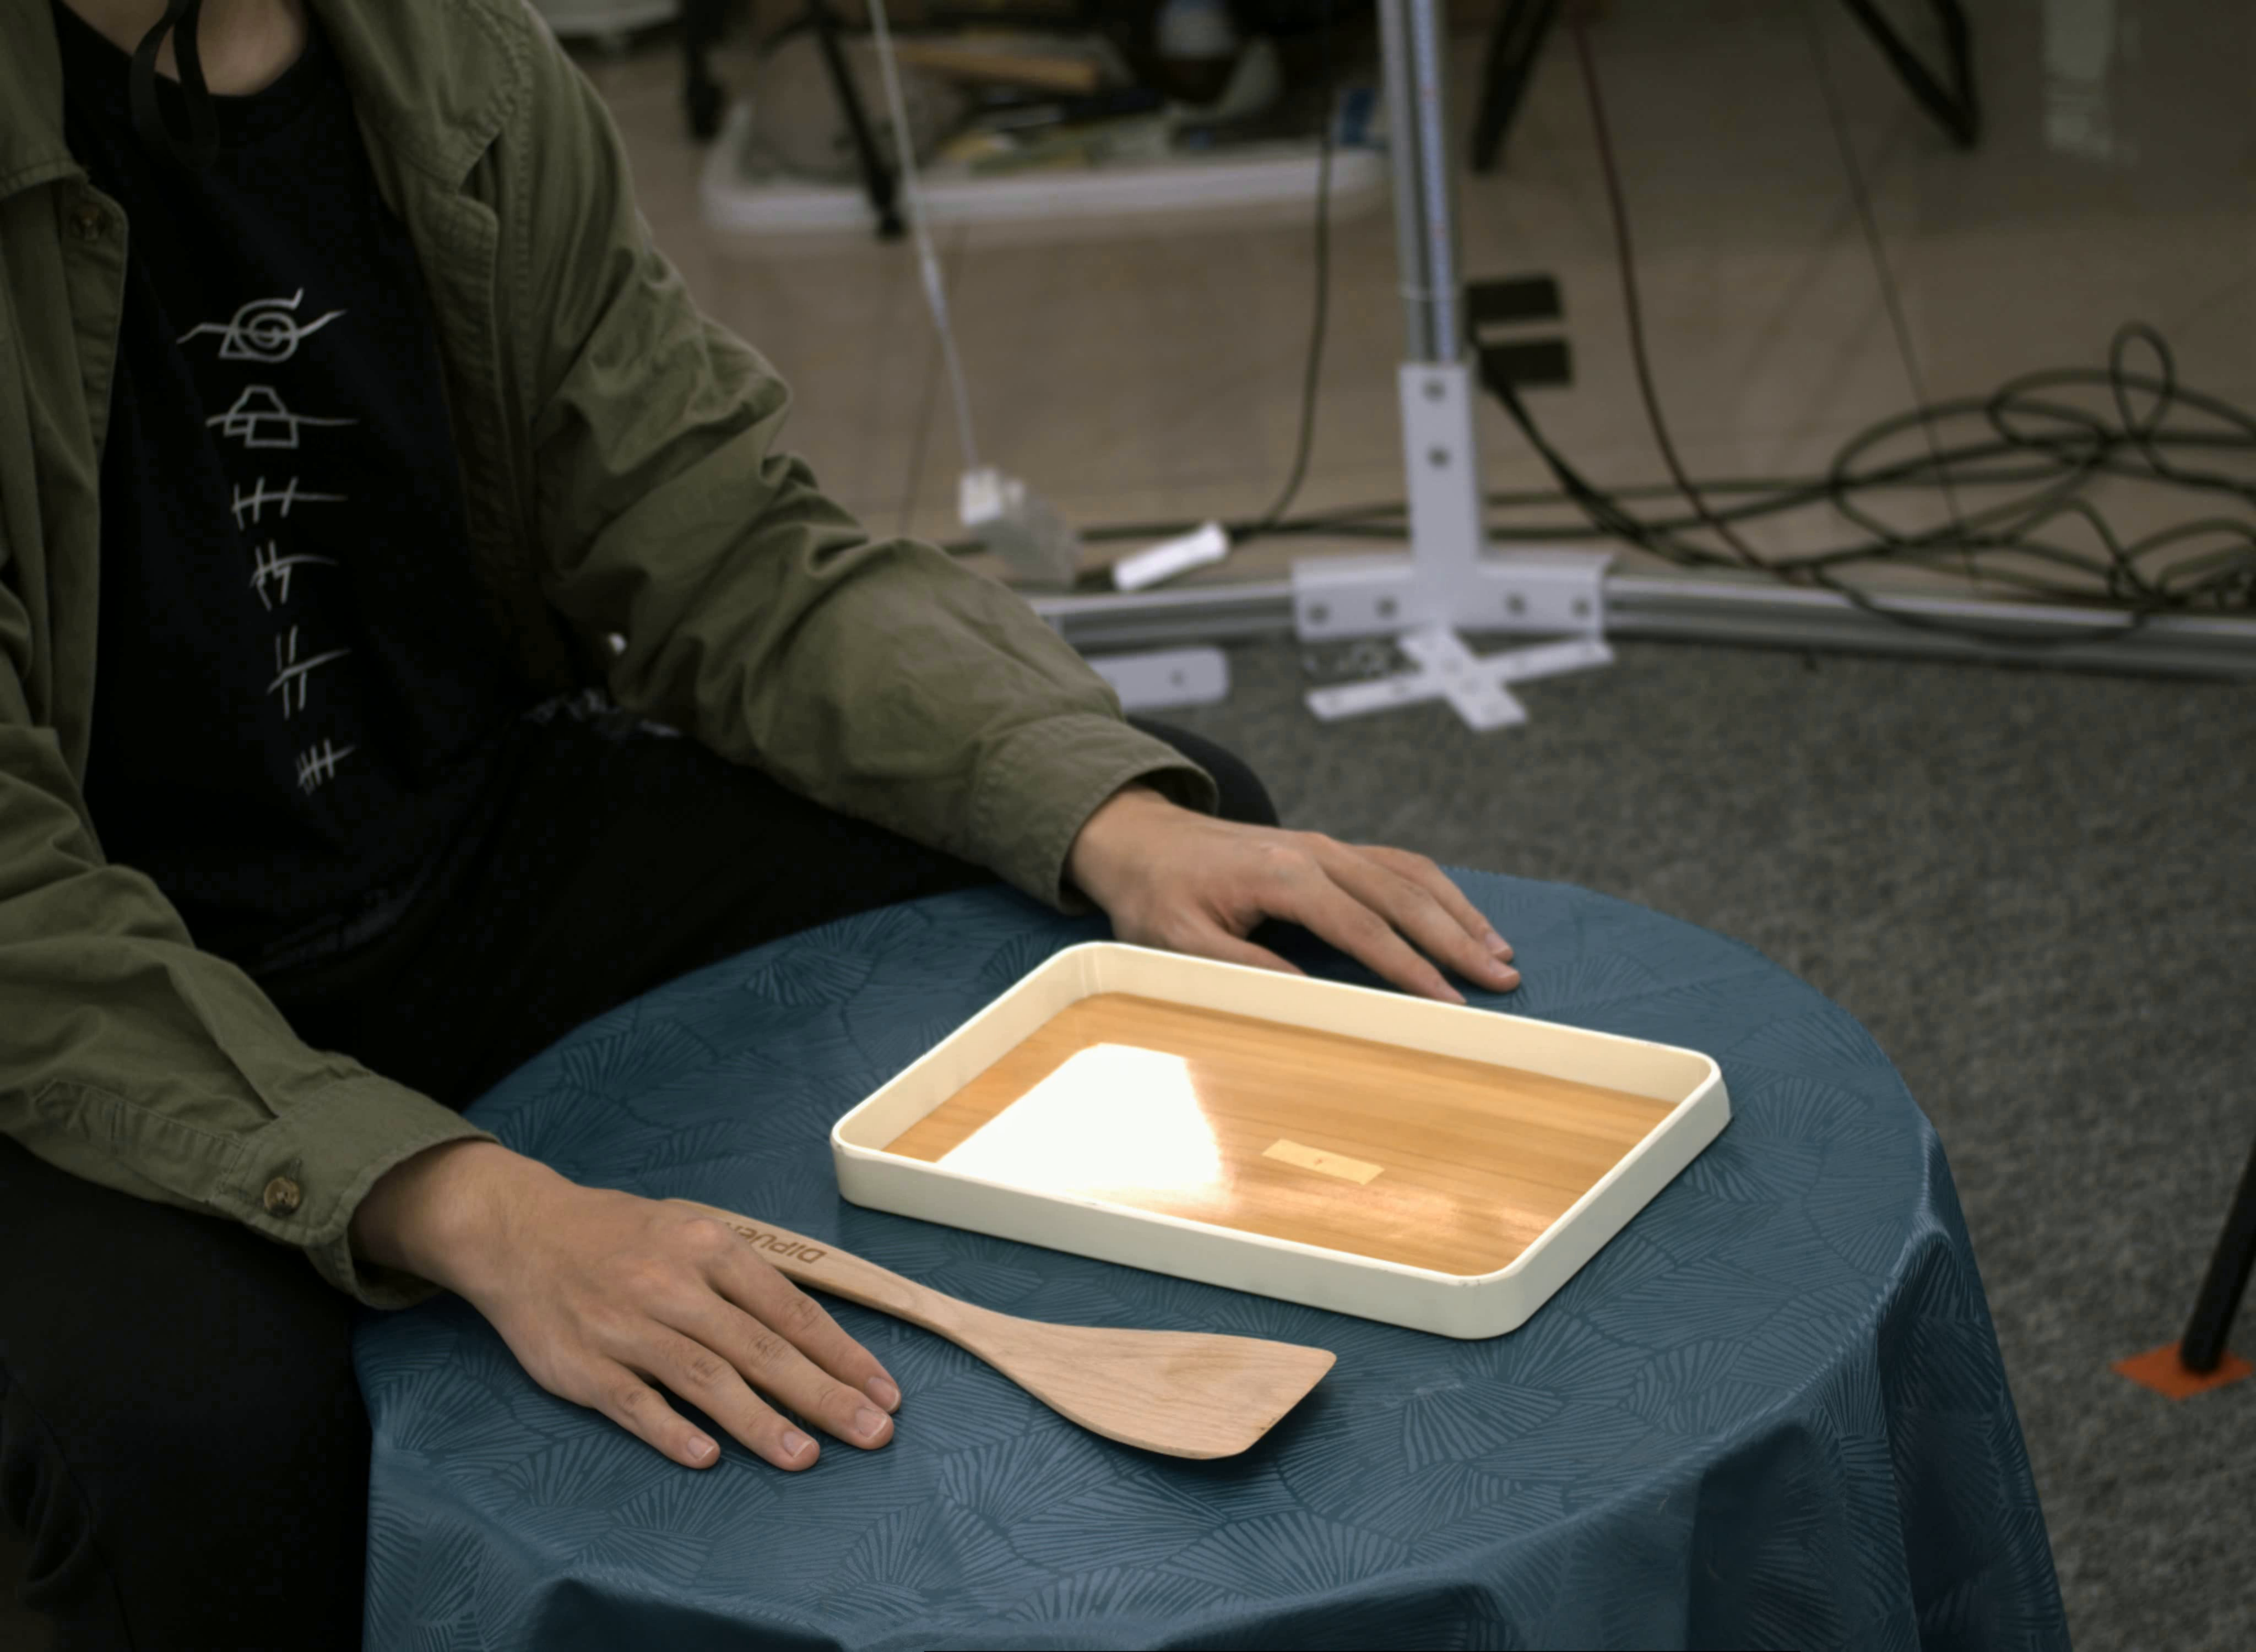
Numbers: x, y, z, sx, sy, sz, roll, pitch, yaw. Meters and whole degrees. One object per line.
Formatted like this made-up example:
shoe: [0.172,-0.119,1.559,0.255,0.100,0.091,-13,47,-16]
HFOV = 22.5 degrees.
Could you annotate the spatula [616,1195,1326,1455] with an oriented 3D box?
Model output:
spatula: [-0.067,0.174,2.074,0.325,0.017,0.079,15,32,37]

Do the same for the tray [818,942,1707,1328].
tray: [0.050,0.114,2.159,0.299,0.028,0.189,9,29,33]
